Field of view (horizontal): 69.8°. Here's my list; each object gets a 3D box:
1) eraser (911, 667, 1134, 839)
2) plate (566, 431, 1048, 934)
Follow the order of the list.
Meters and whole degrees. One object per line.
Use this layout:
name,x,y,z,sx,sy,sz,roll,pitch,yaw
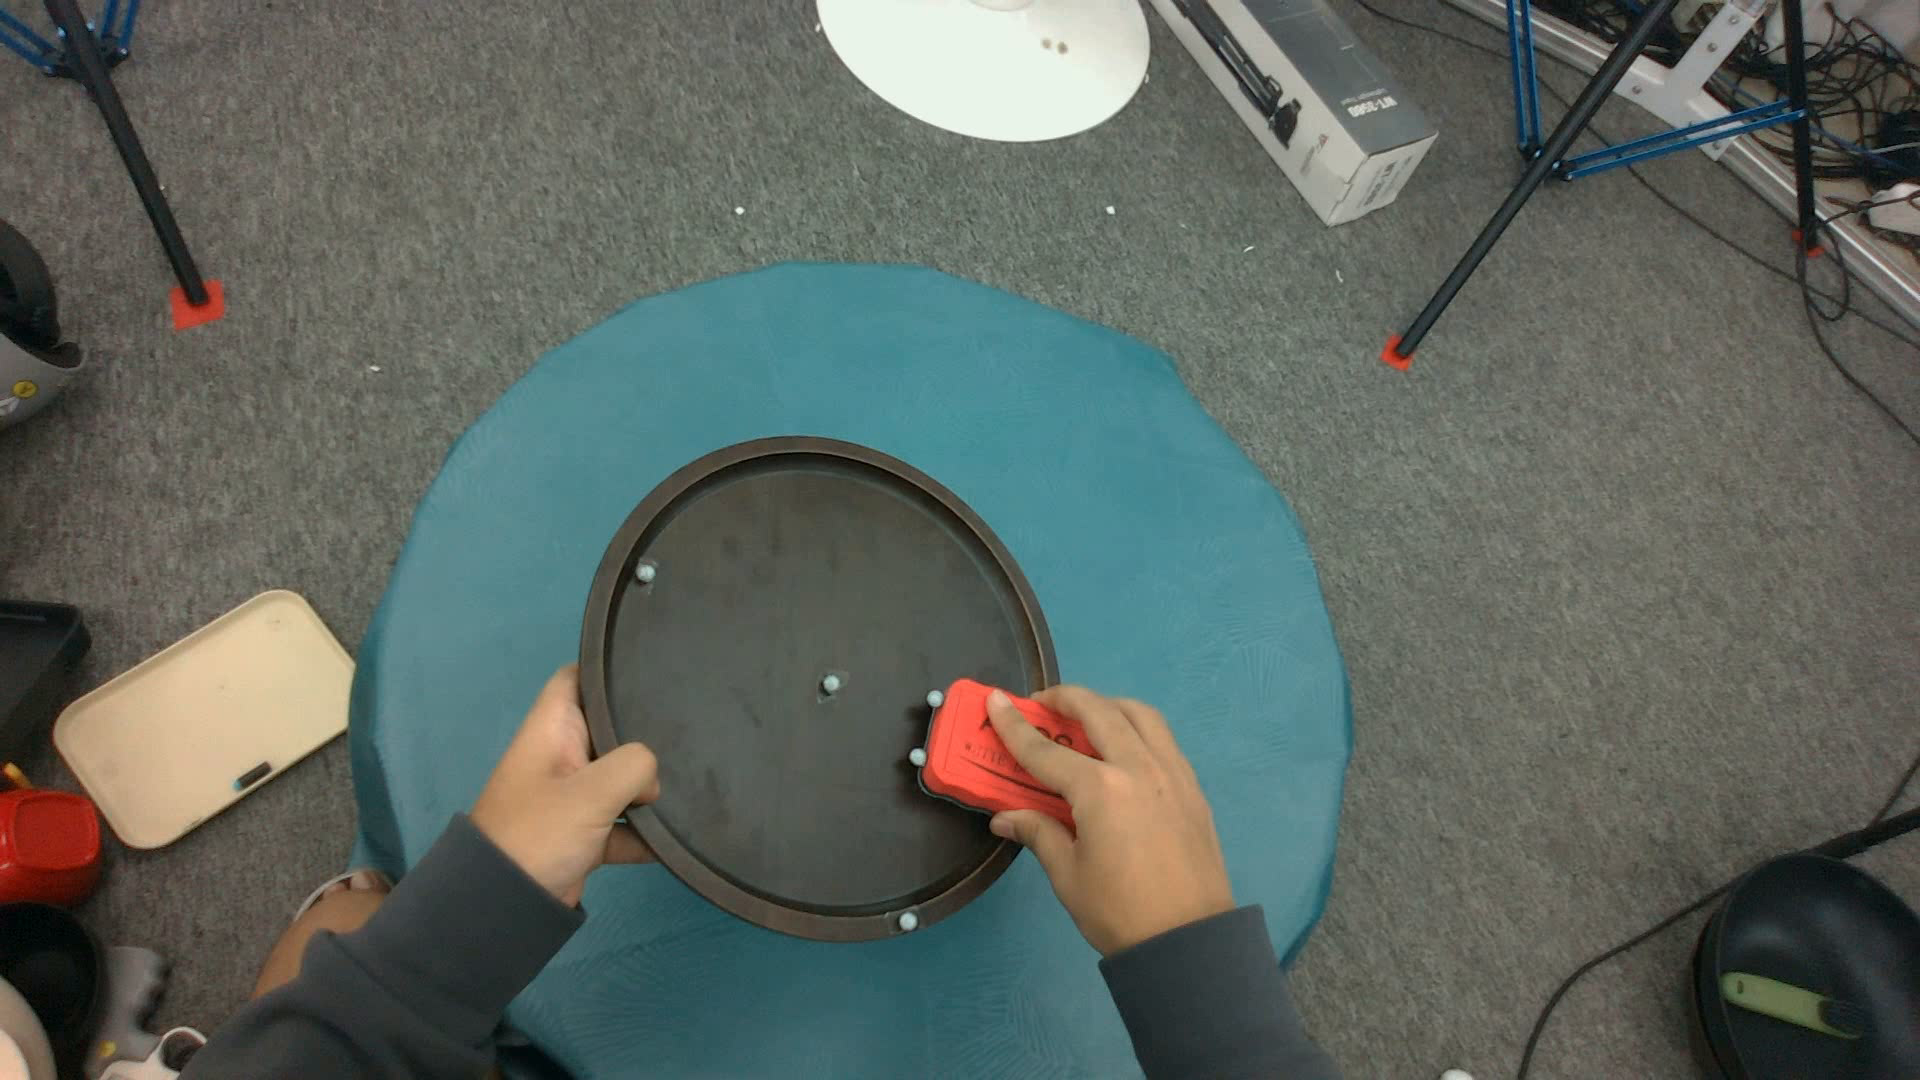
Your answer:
eraser,0.032,0.106,0.683,0.108,0.023,0.059,21,54,-12
plate,-0.067,0.064,0.673,0.255,0.029,0.255,13,63,-27
